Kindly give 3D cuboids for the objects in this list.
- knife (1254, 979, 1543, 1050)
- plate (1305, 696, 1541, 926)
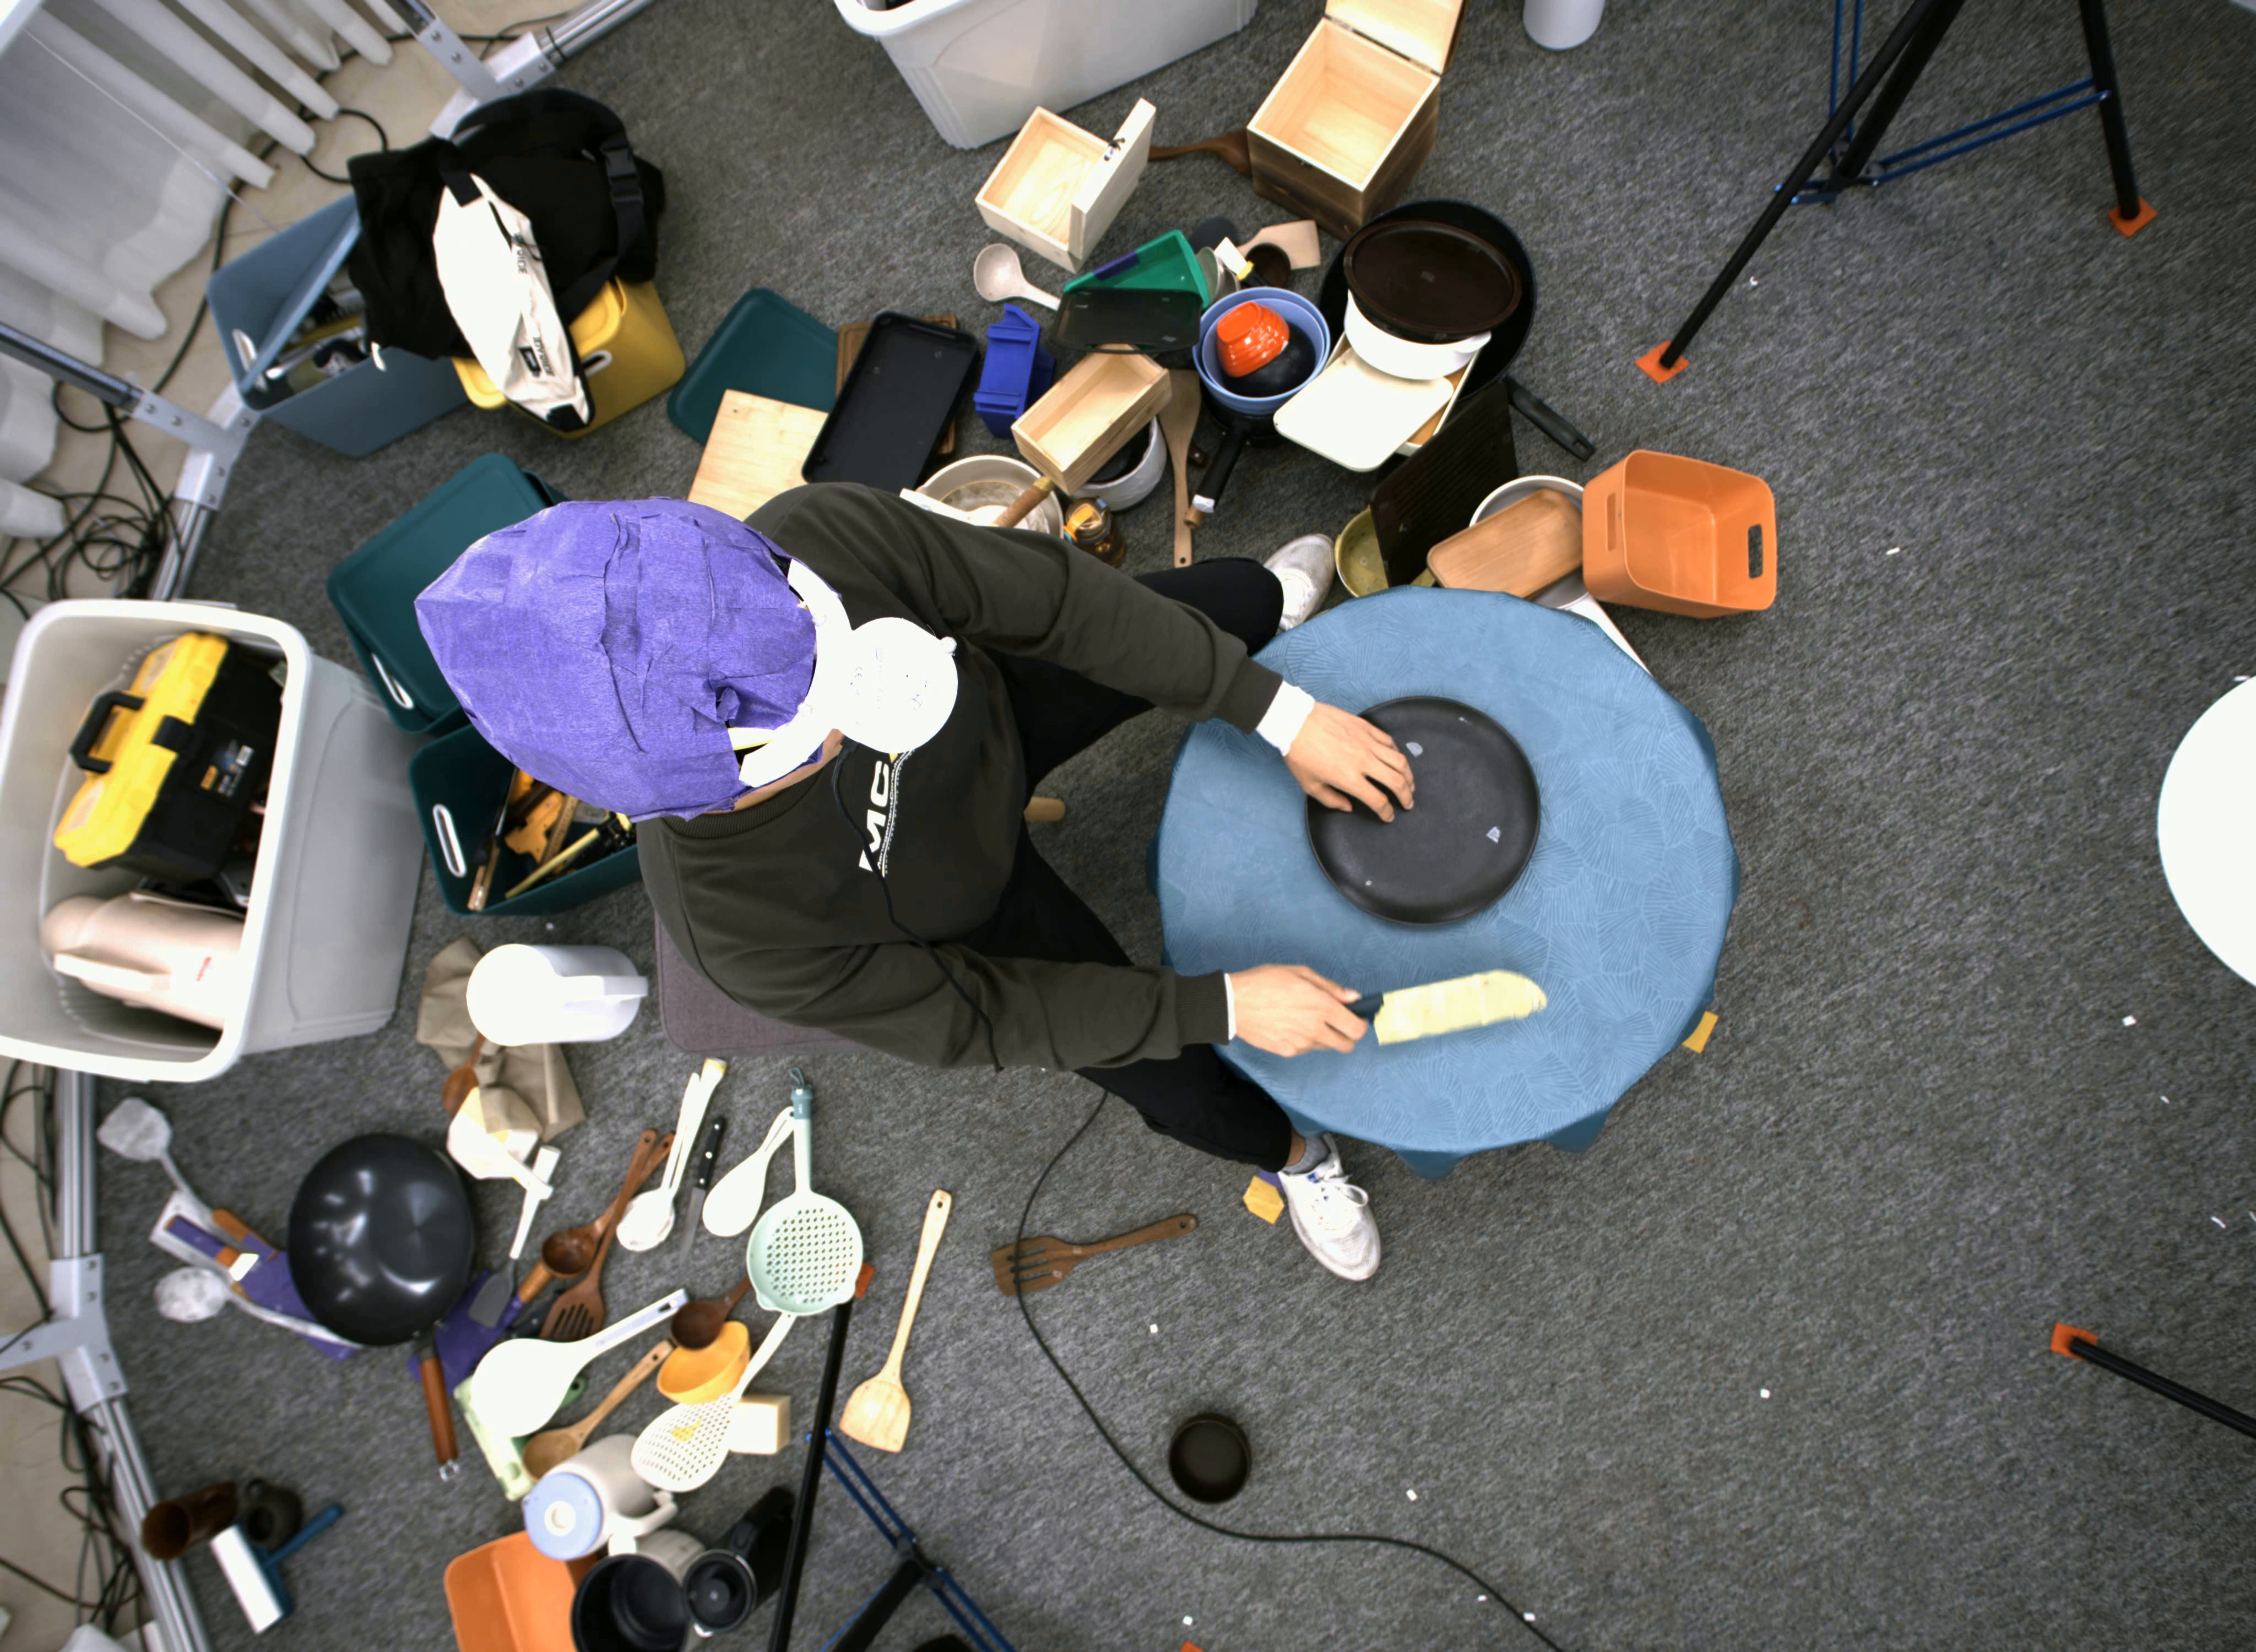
[{"bbox_3d":[0.273,0.194,1.393,0.291,0.026,0.083,-8,128,9],"label":"knife"},{"bbox_3d":[0.308,-0.017,1.446,0.245,0.023,0.243,-1,87,11],"label":"plate"}]
